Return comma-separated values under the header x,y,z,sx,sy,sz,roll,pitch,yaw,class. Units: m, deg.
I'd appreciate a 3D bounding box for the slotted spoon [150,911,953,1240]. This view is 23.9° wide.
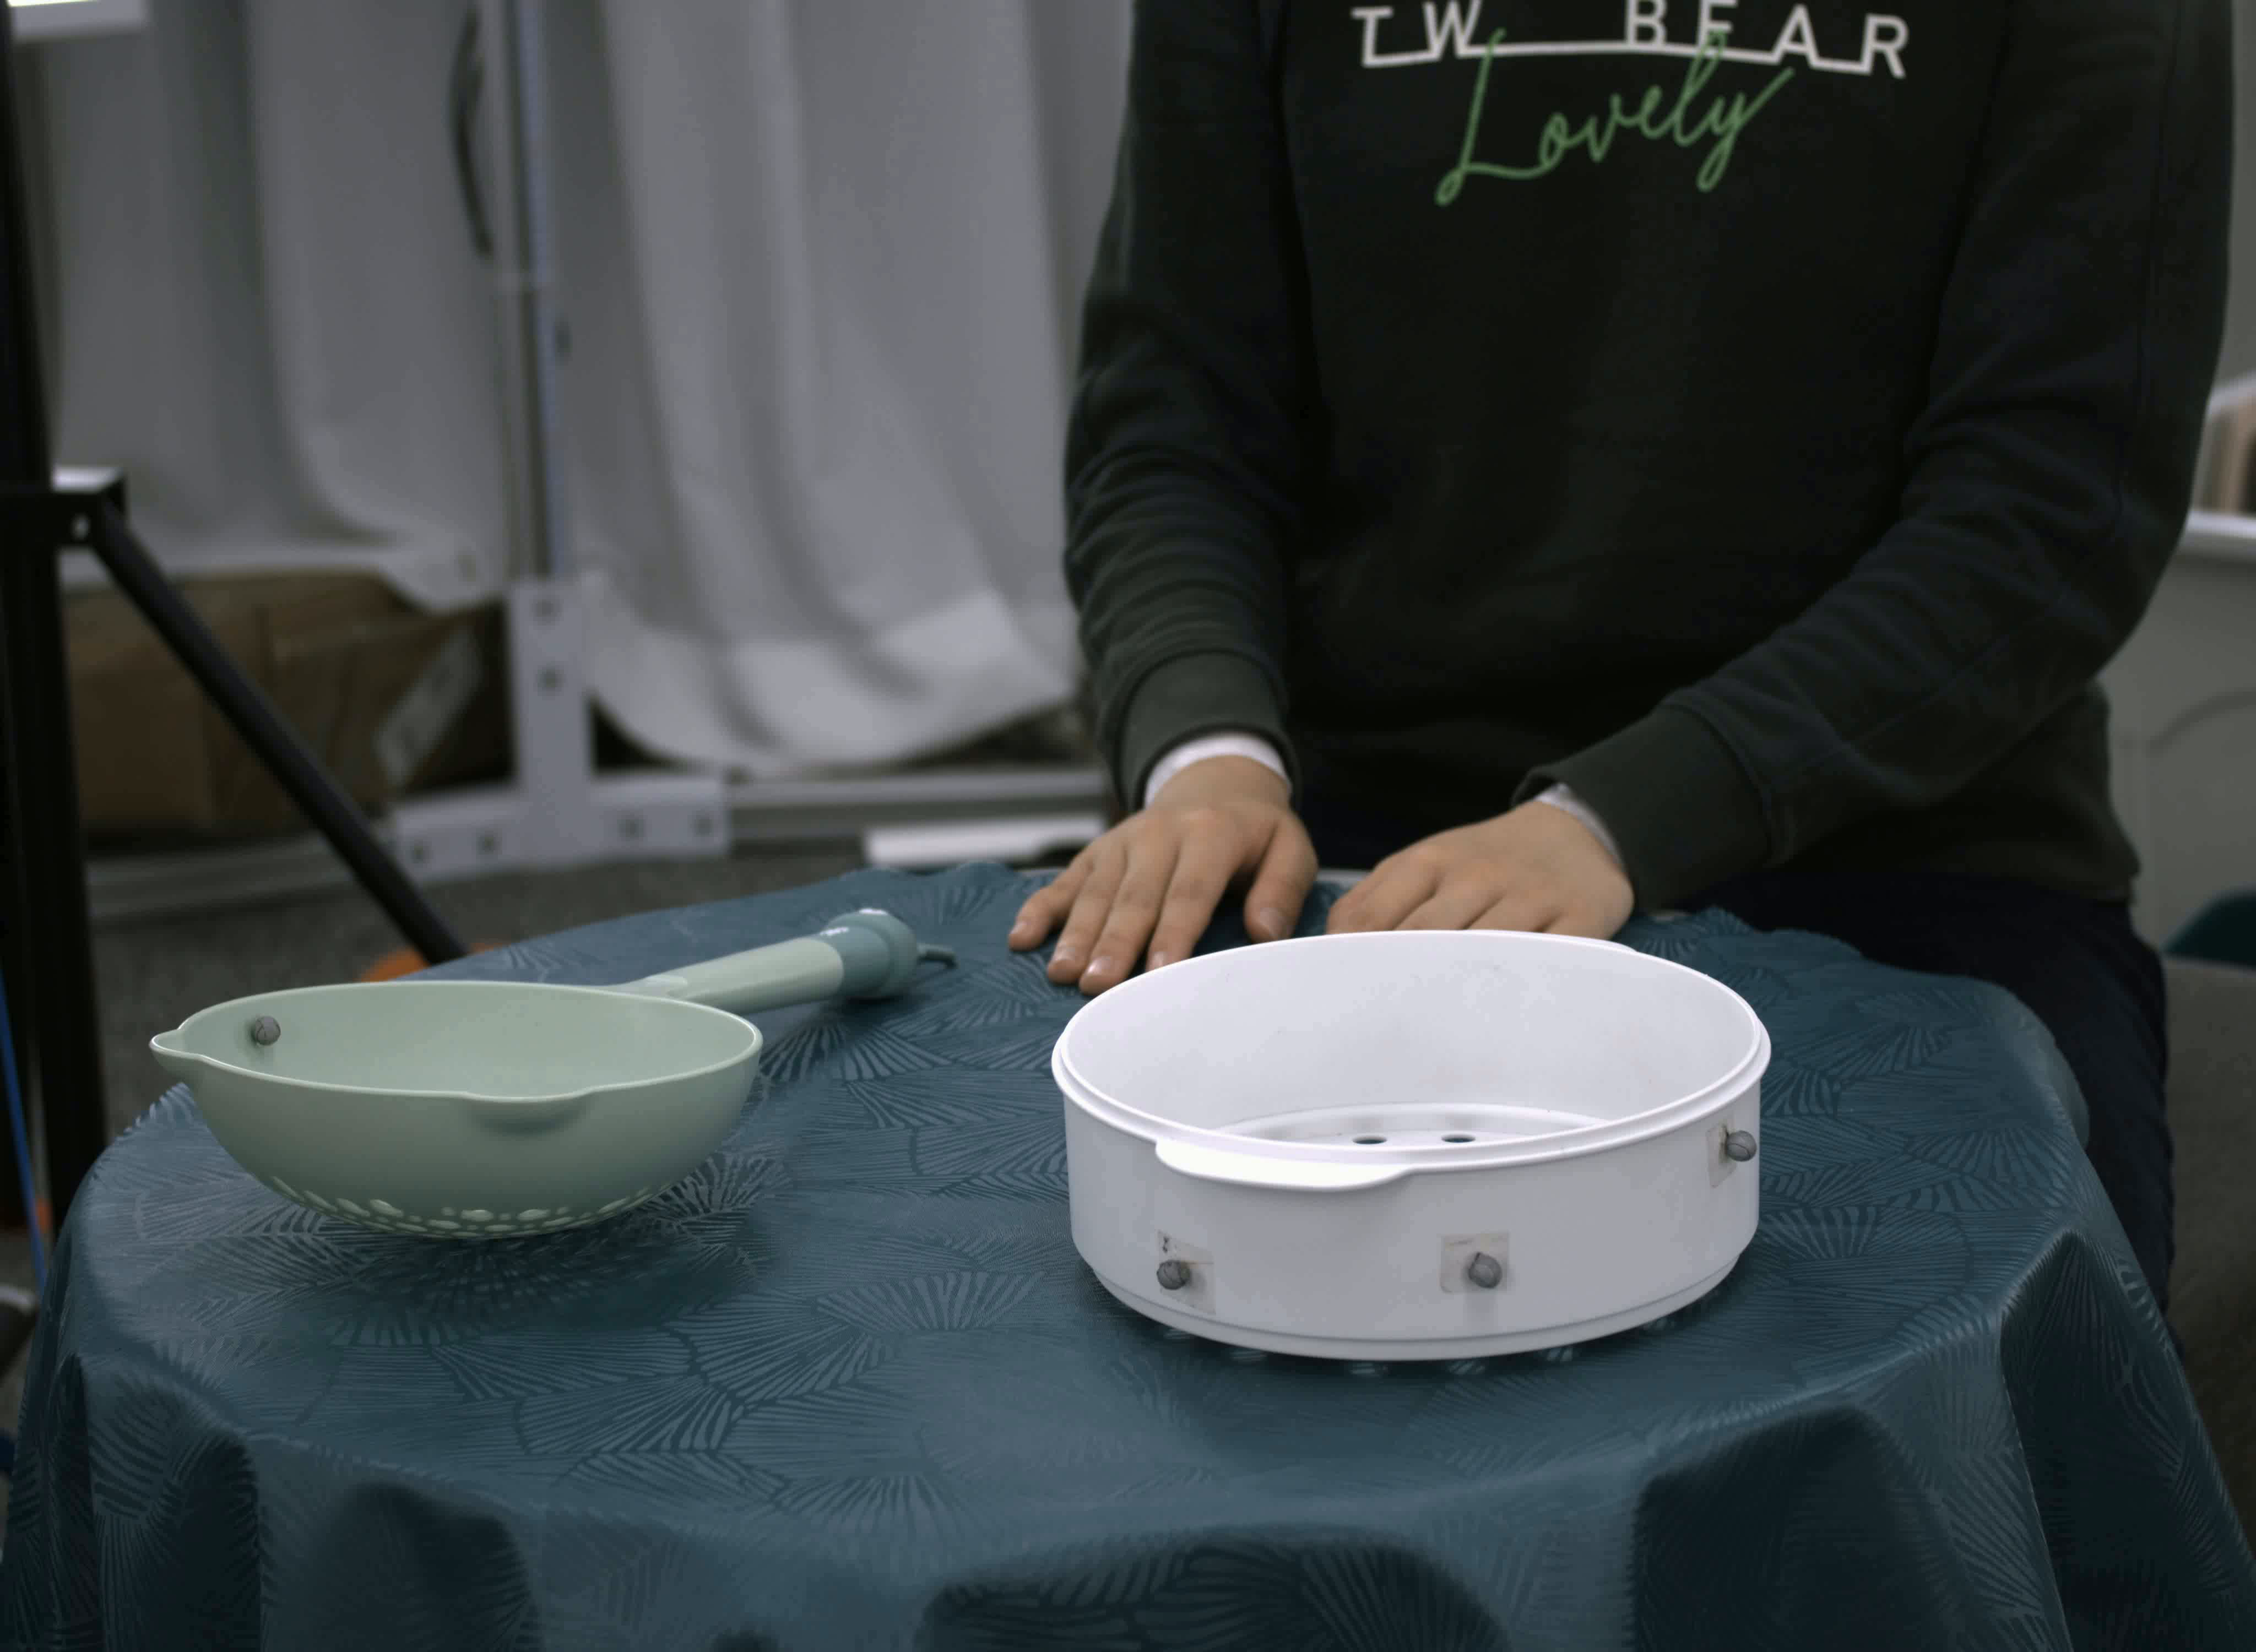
x,y,z,sx,sy,sz,roll,pitch,yaw,class
-0.146,0.061,1.631,0.172,0.075,0.353,6,18,27,slotted spoon

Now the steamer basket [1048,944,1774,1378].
x,y,z,sx,sy,sz,roll,pitch,yaw,class
0.079,0.093,1.481,0.205,0.069,0.227,5,17,23,steamer basket
